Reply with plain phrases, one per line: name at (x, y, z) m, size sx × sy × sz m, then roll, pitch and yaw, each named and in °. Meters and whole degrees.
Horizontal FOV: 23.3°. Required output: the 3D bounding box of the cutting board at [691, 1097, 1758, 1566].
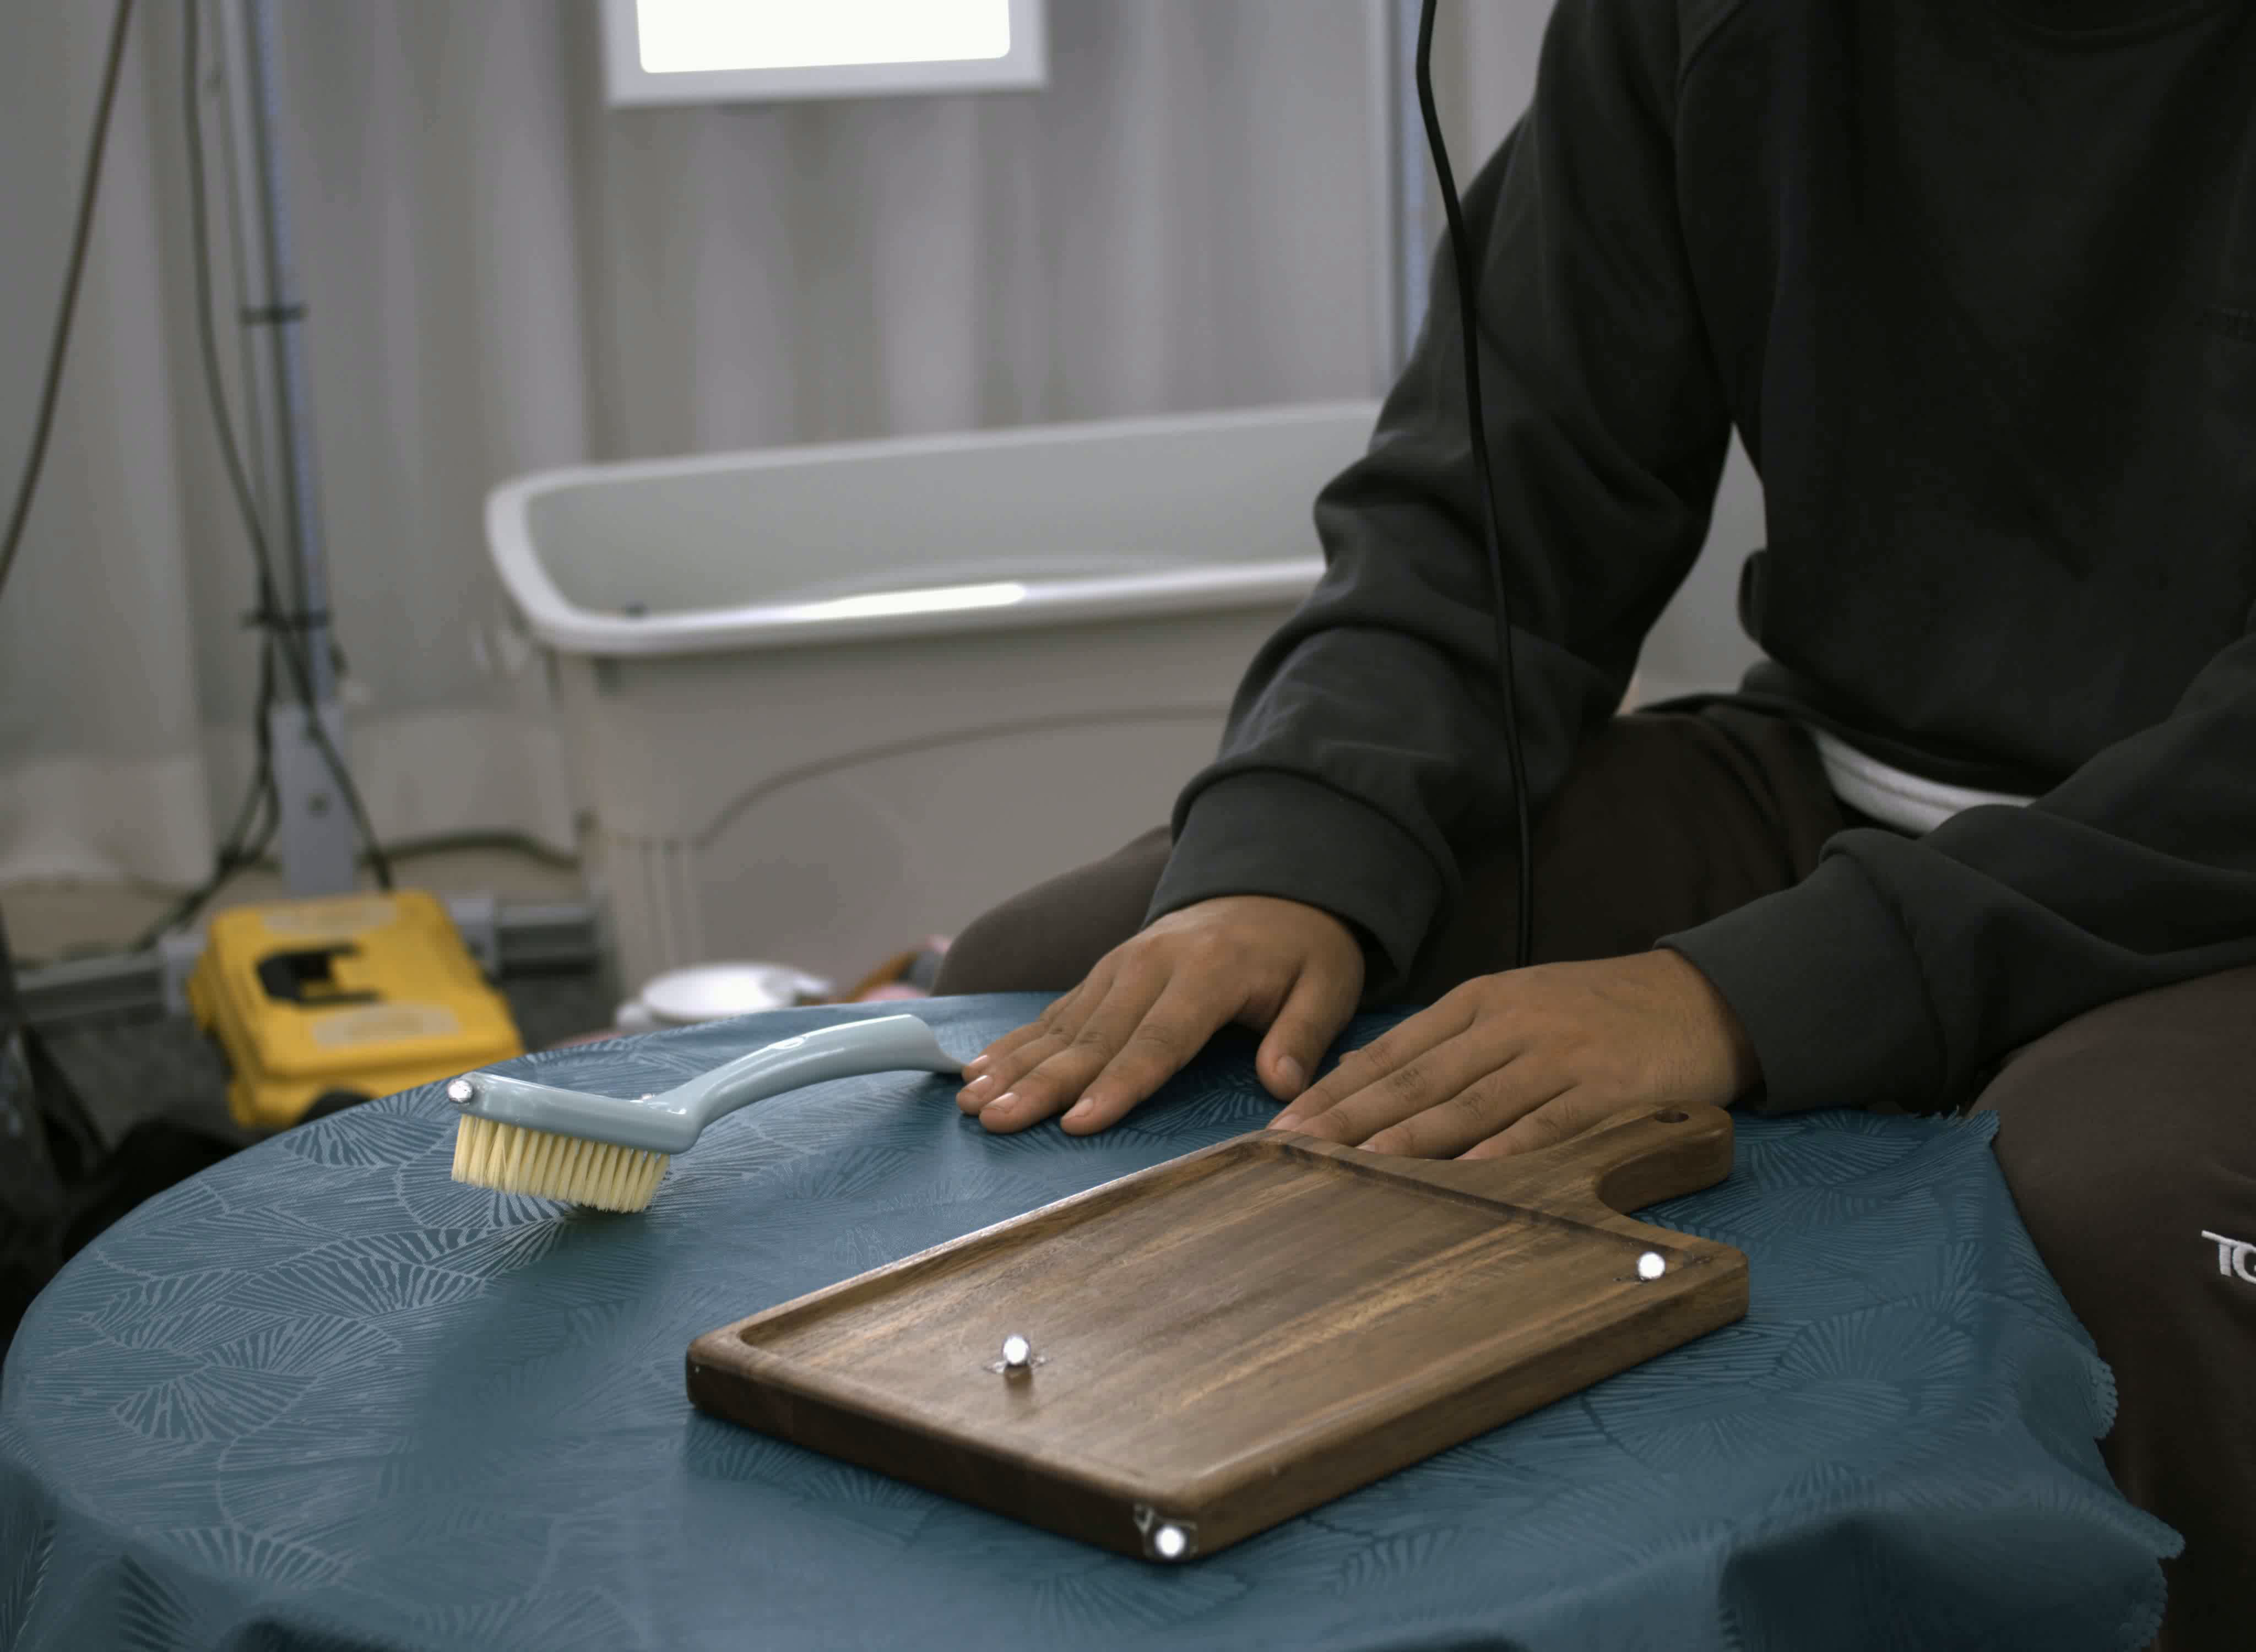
cutting board at (0.064, 0.133, 1.597) m, size 0.202 × 0.023 × 0.351 m, roll 12°, pitch 21°, yaw 43°

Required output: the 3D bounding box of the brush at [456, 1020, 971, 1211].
brush at (-0.130, 0.094, 1.761) m, size 0.038 × 0.049 × 0.228 m, roll 11°, pitch 11°, yaw 37°
